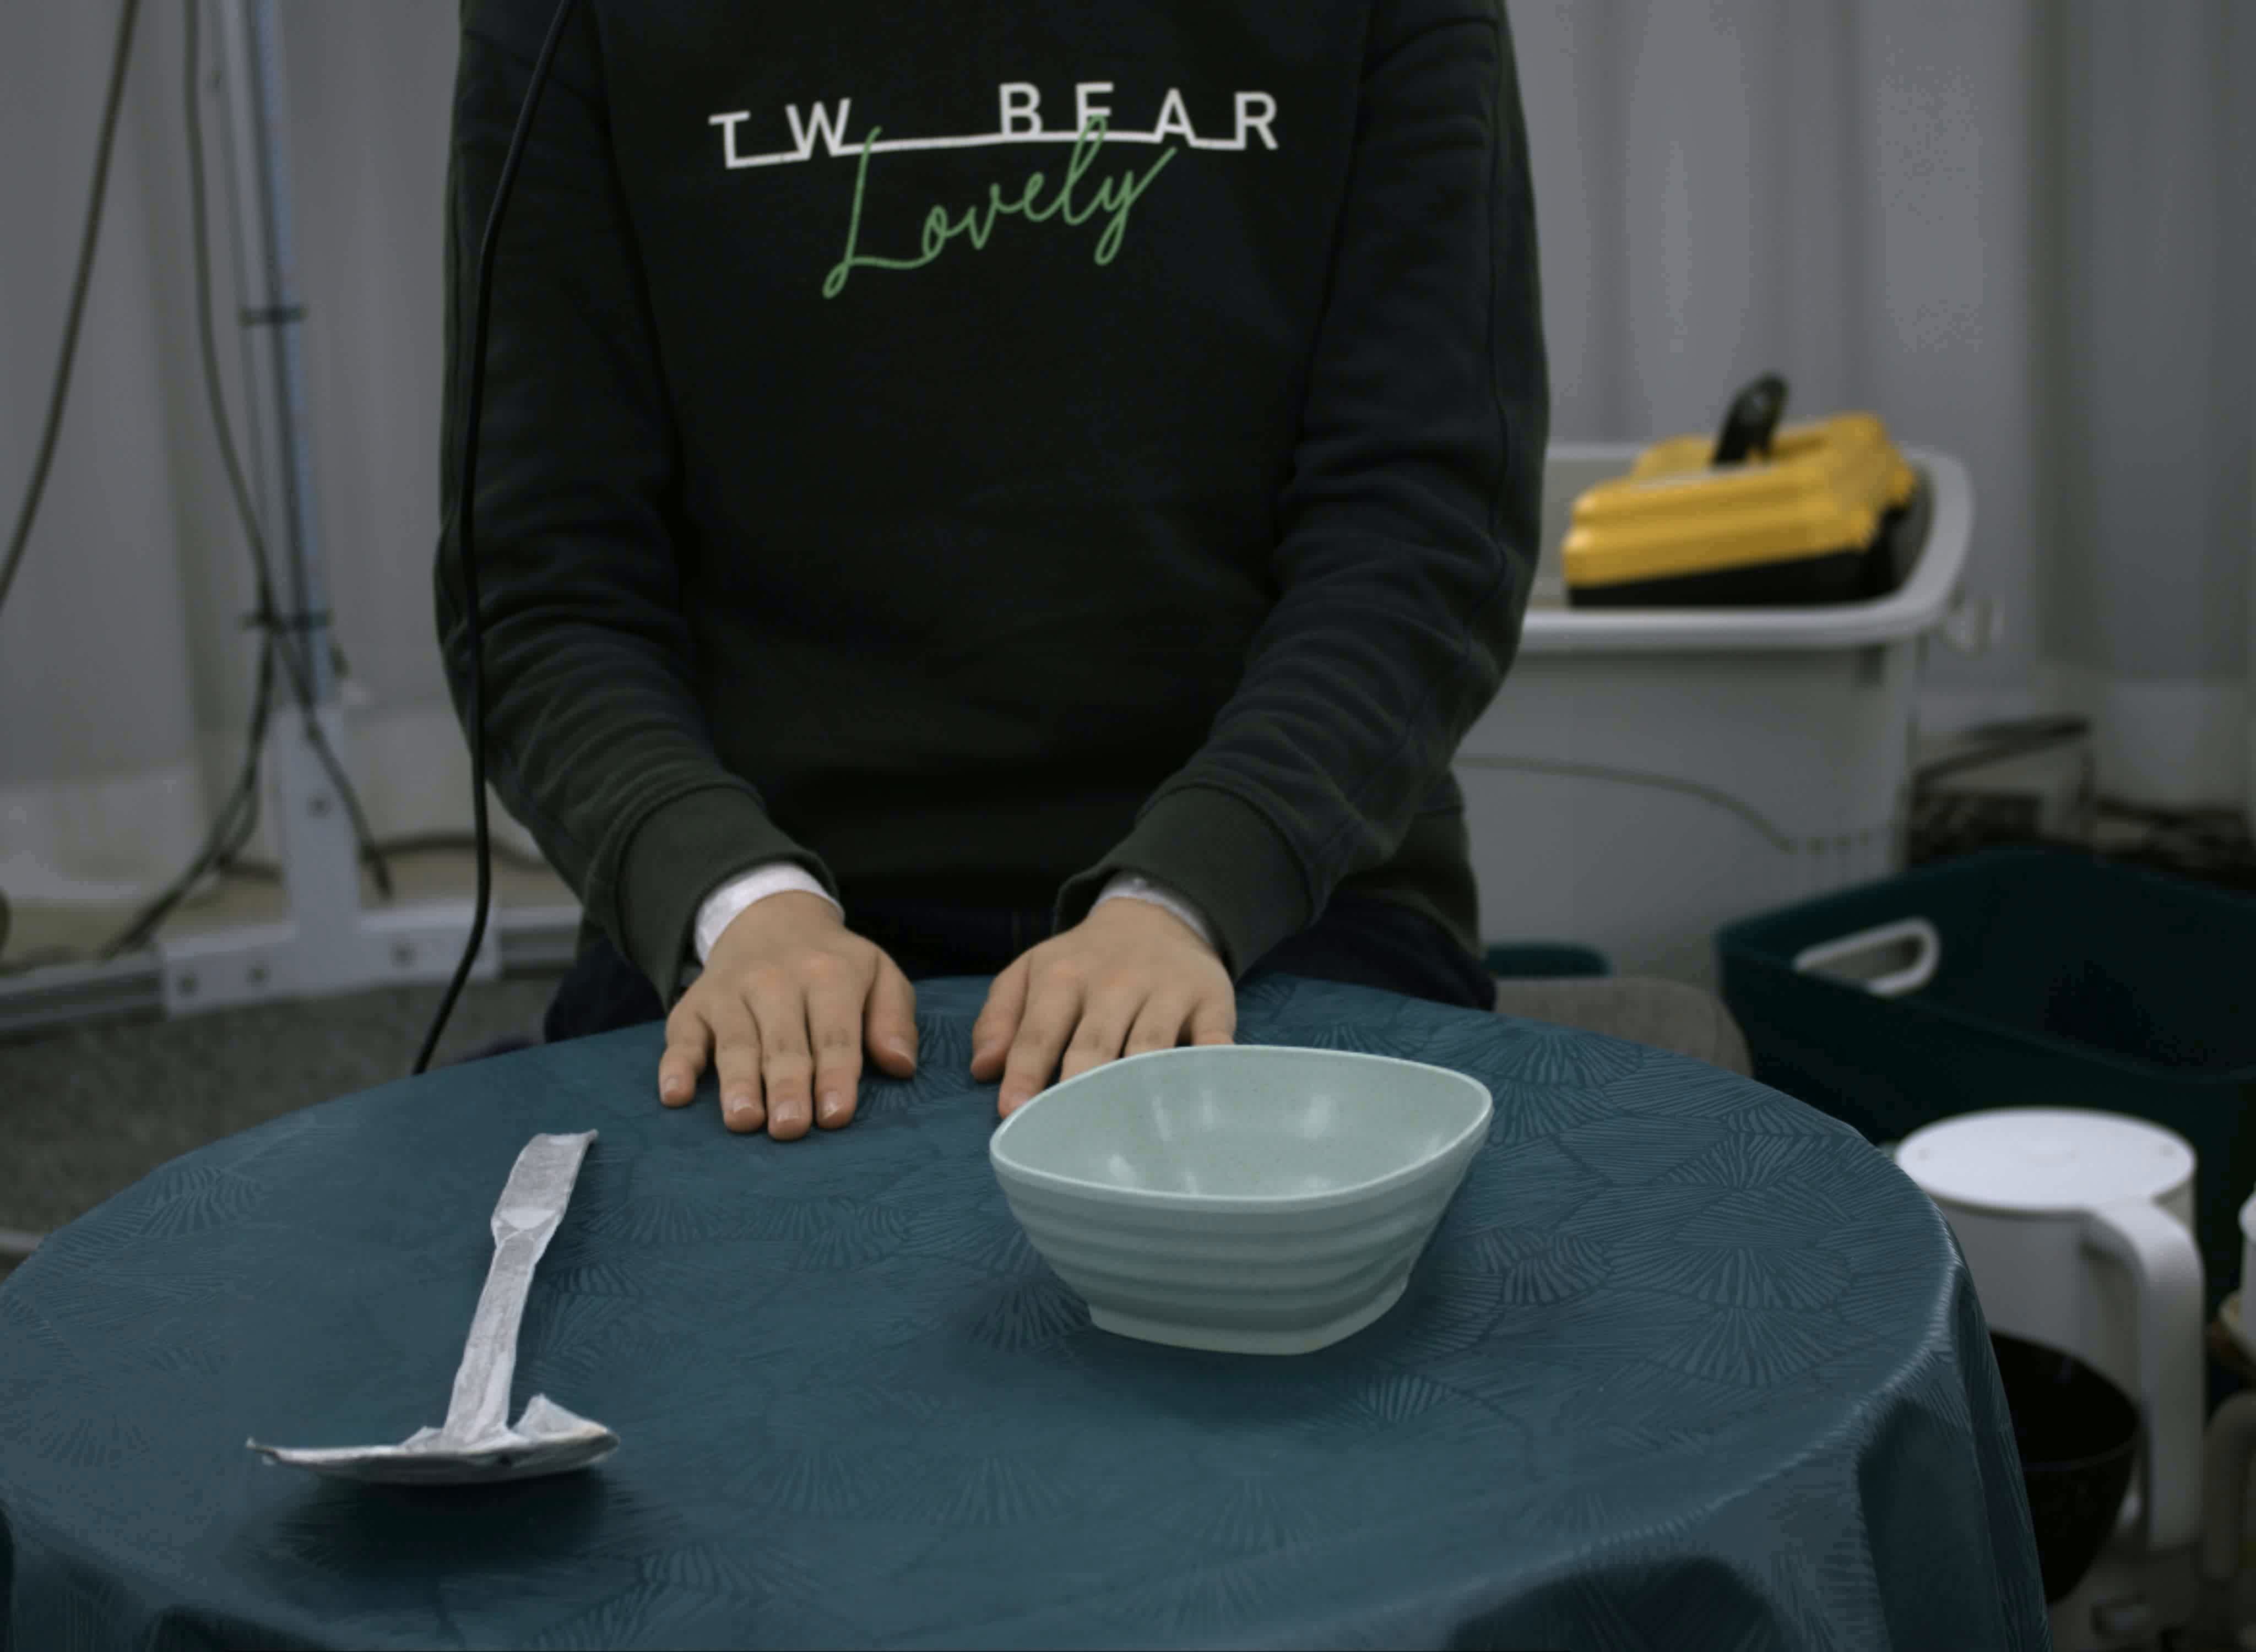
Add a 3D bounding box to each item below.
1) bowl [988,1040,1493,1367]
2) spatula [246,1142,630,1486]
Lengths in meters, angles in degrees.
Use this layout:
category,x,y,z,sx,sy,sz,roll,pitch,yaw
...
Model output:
category,x,y,z,sx,sy,sz,roll,pitch,yaw
bowl,0.034,0.114,1.606,0.151,0.058,0.152,-2,17,0
spatula,-0.179,0.134,1.602,0.098,0.044,0.367,-4,15,2
